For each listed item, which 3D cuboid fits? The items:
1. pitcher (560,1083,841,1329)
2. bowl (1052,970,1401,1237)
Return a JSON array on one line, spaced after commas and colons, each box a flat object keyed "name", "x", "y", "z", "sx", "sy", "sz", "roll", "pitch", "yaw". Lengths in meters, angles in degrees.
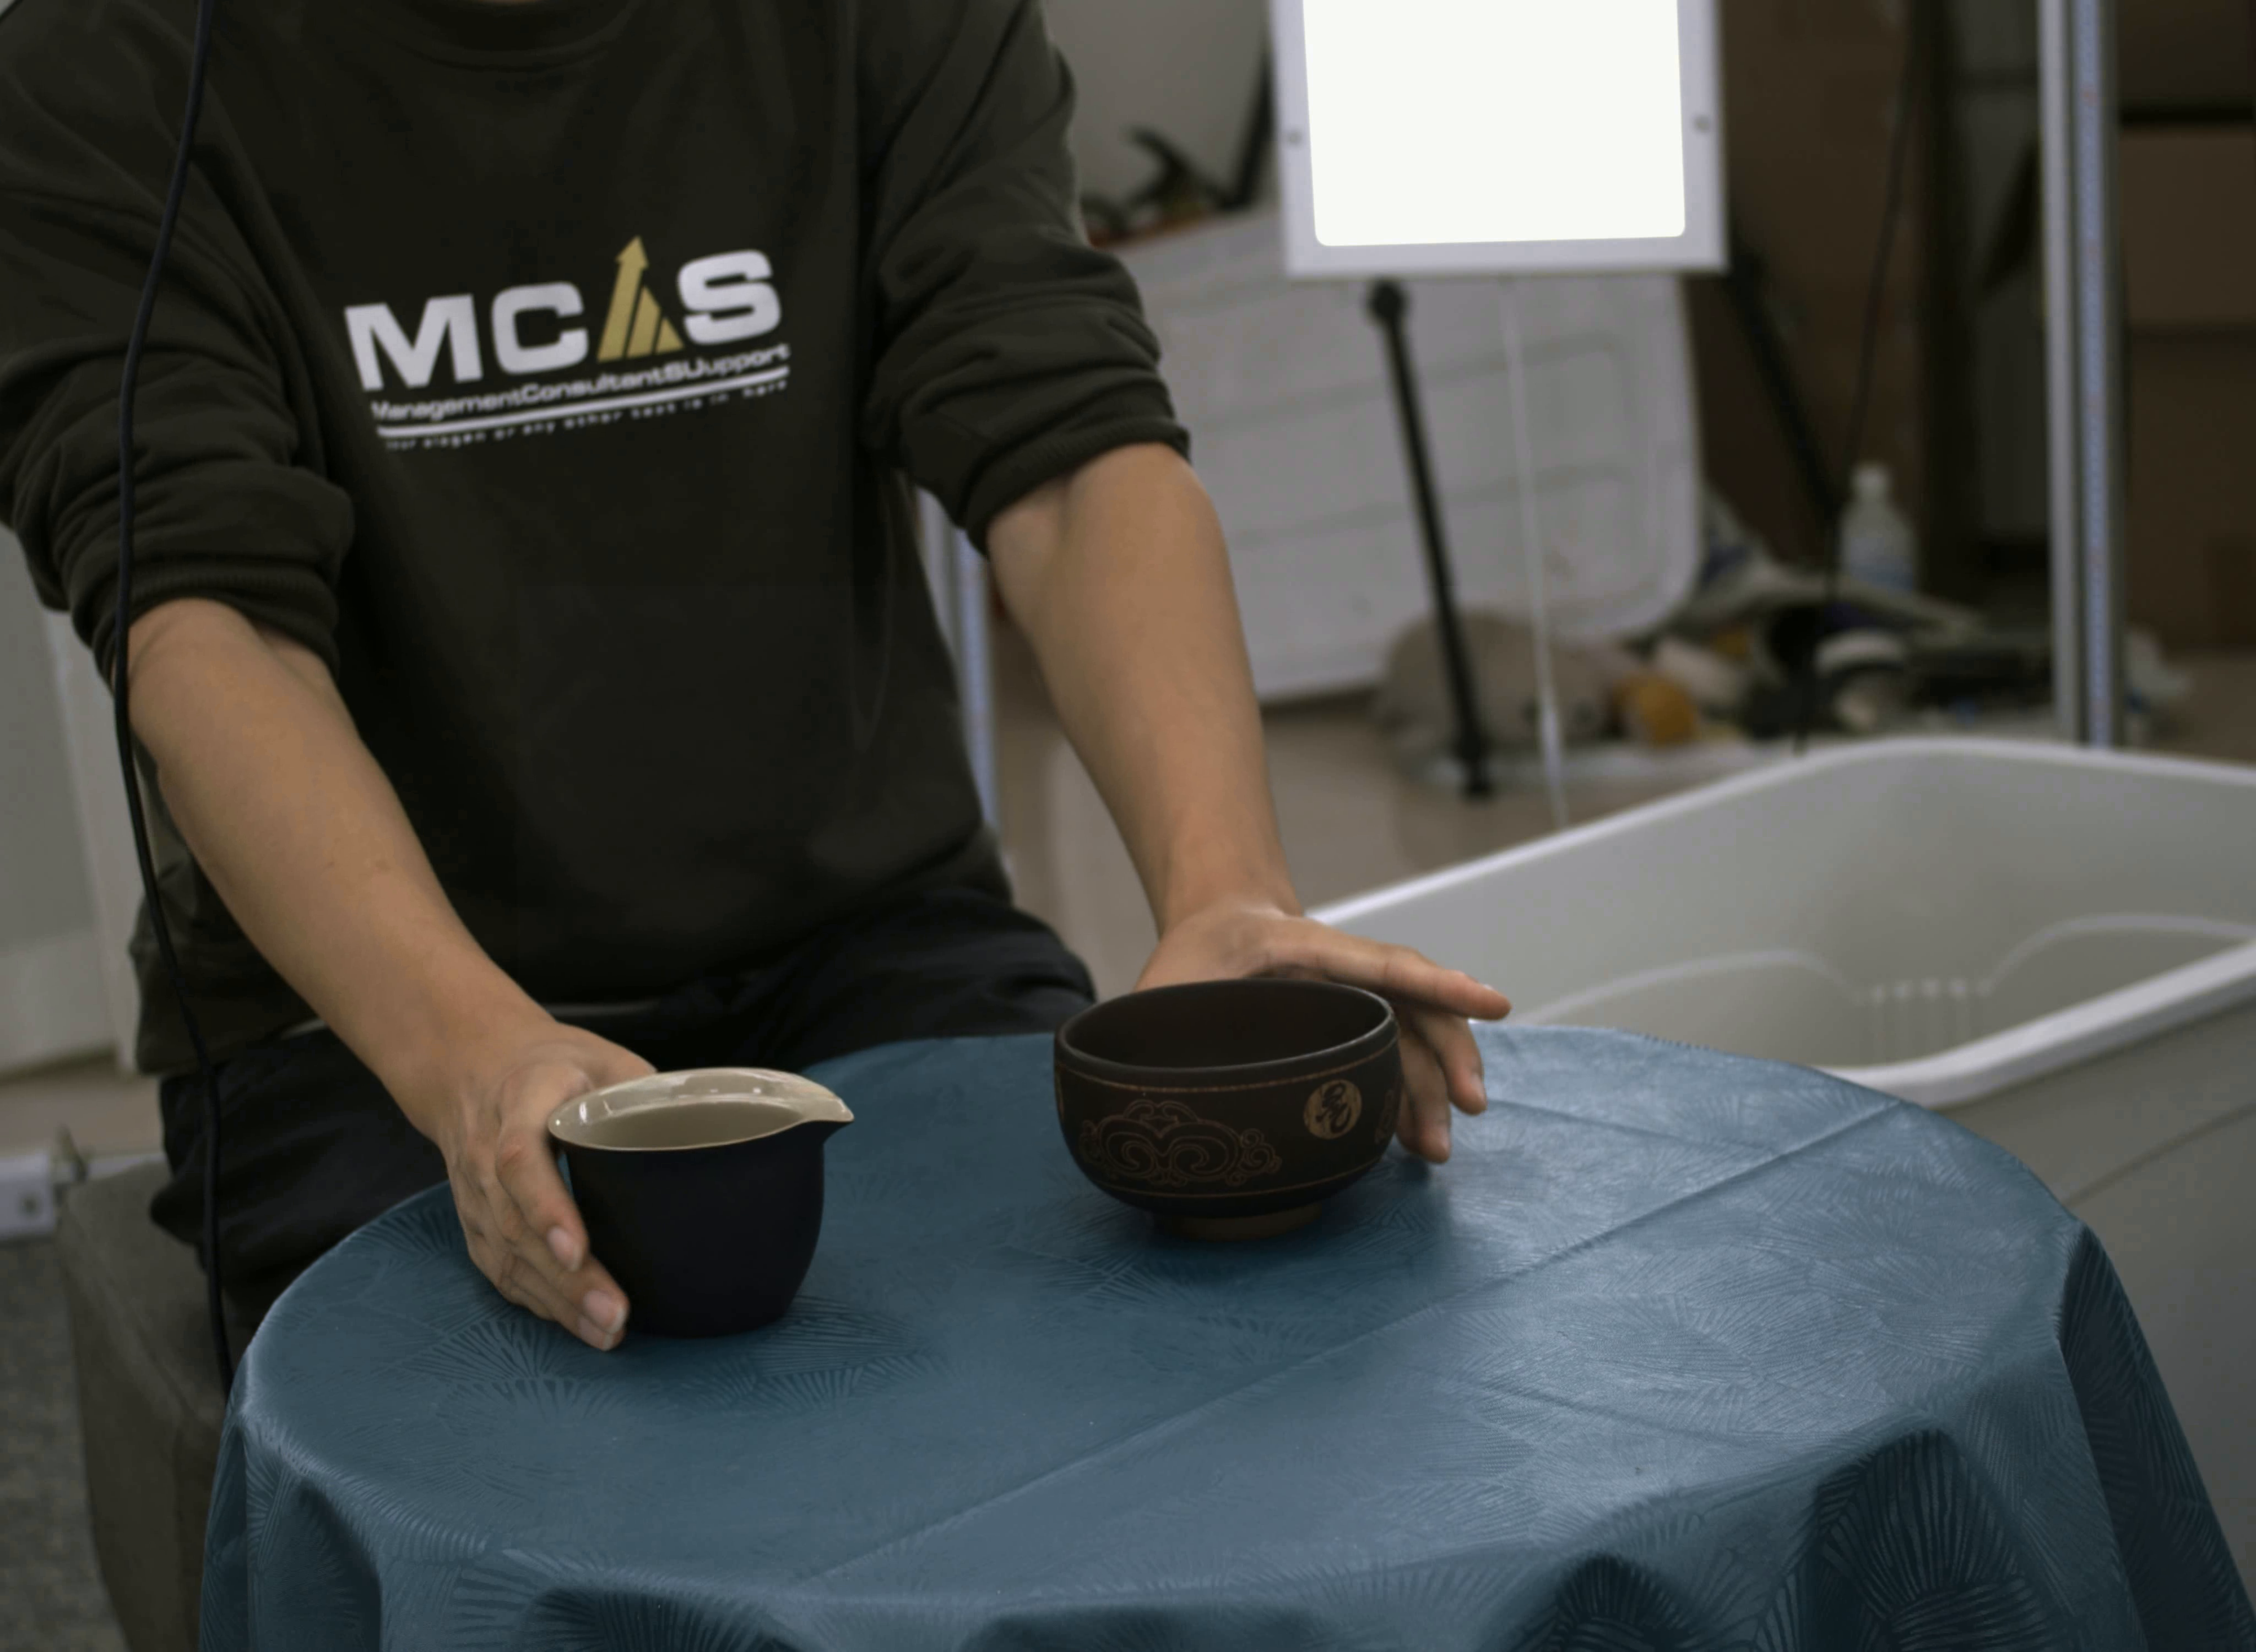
[{"name": "pitcher", "x": -0.136, "y": 0.123, "z": 1.802, "sx": 0.097, "sy": 0.071, "sz": 0.082, "roll": 0, "pitch": 13, "yaw": 23}, {"name": "bowl", "x": 0.035, "y": 0.097, "z": 1.856, "sx": 0.118, "sy": 0.070, "sz": 0.118, "roll": -5, "pitch": 15, "yaw": 0}]
